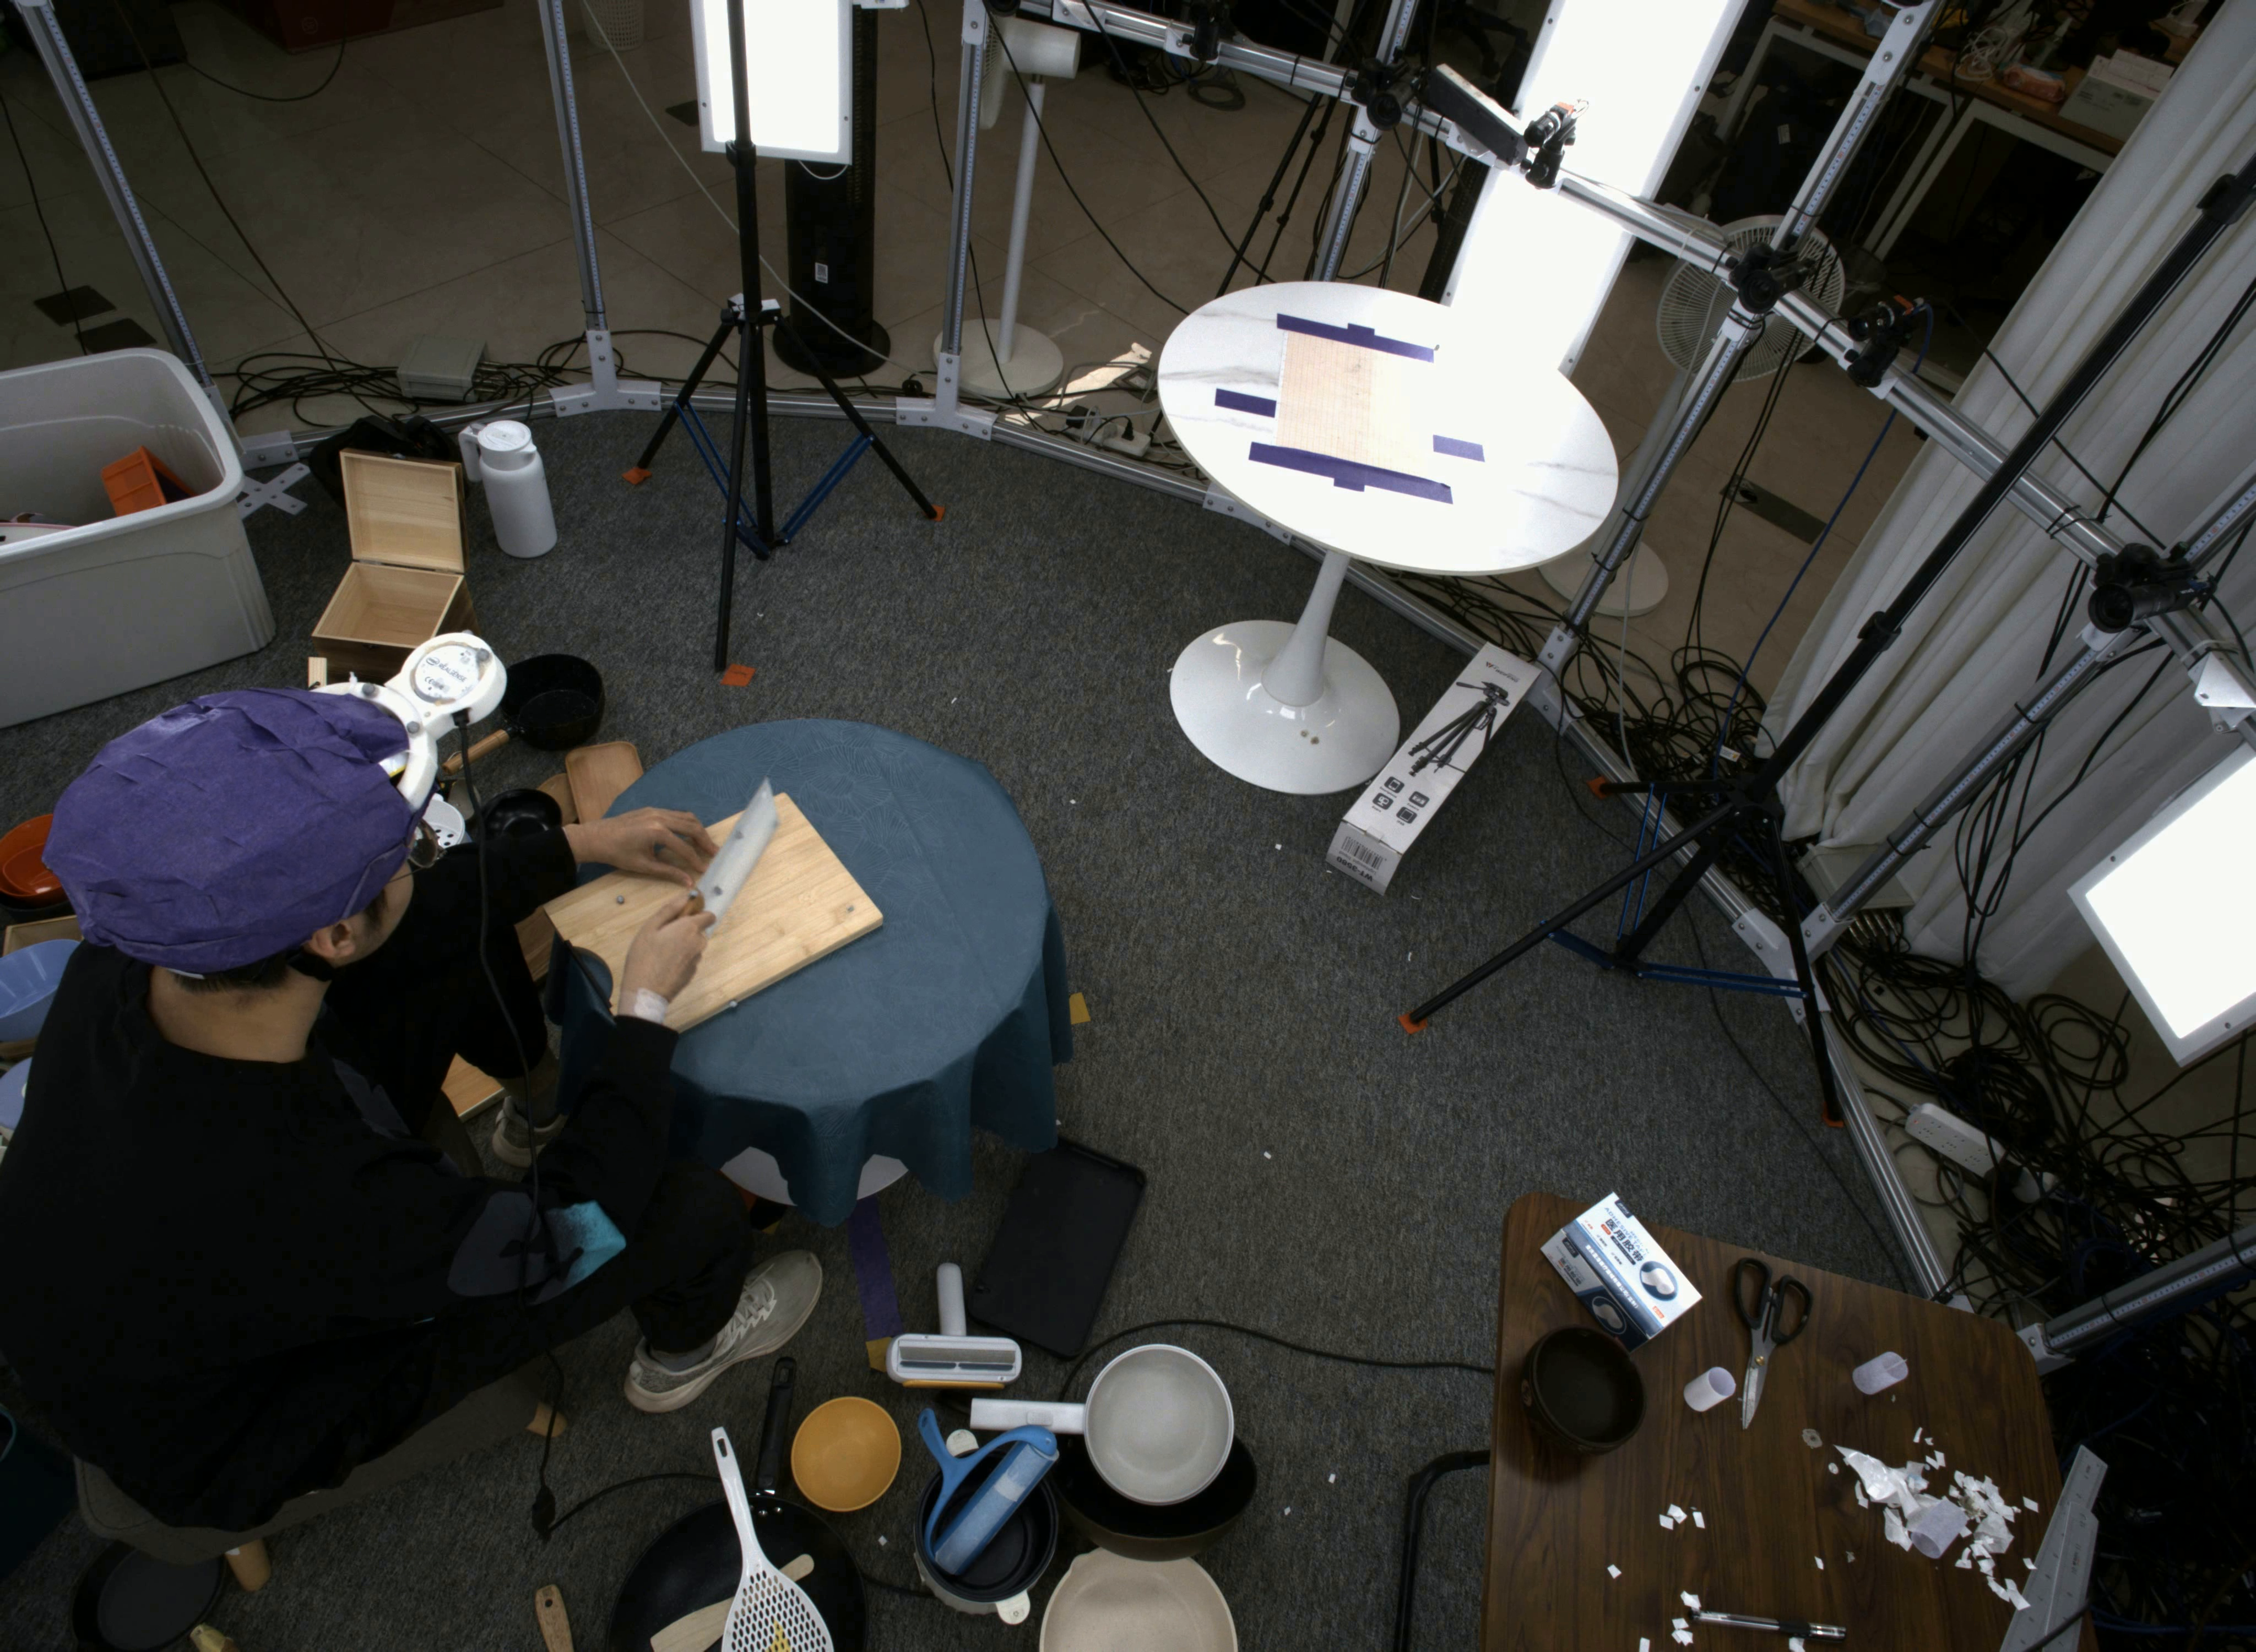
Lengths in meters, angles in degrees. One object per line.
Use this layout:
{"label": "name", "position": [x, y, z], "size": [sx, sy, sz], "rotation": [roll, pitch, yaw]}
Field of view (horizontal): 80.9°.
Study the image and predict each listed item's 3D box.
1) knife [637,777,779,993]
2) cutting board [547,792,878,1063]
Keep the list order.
{"label": "knife", "position": [-0.477, 0.076, 1.493], "size": [0.020, 0.096, 0.303], "rotation": [13, 51, 11]}
{"label": "cutting board", "position": [-0.516, 0.112, 1.594], "size": [0.350, 0.024, 0.245], "rotation": [-31, 67, -32]}
